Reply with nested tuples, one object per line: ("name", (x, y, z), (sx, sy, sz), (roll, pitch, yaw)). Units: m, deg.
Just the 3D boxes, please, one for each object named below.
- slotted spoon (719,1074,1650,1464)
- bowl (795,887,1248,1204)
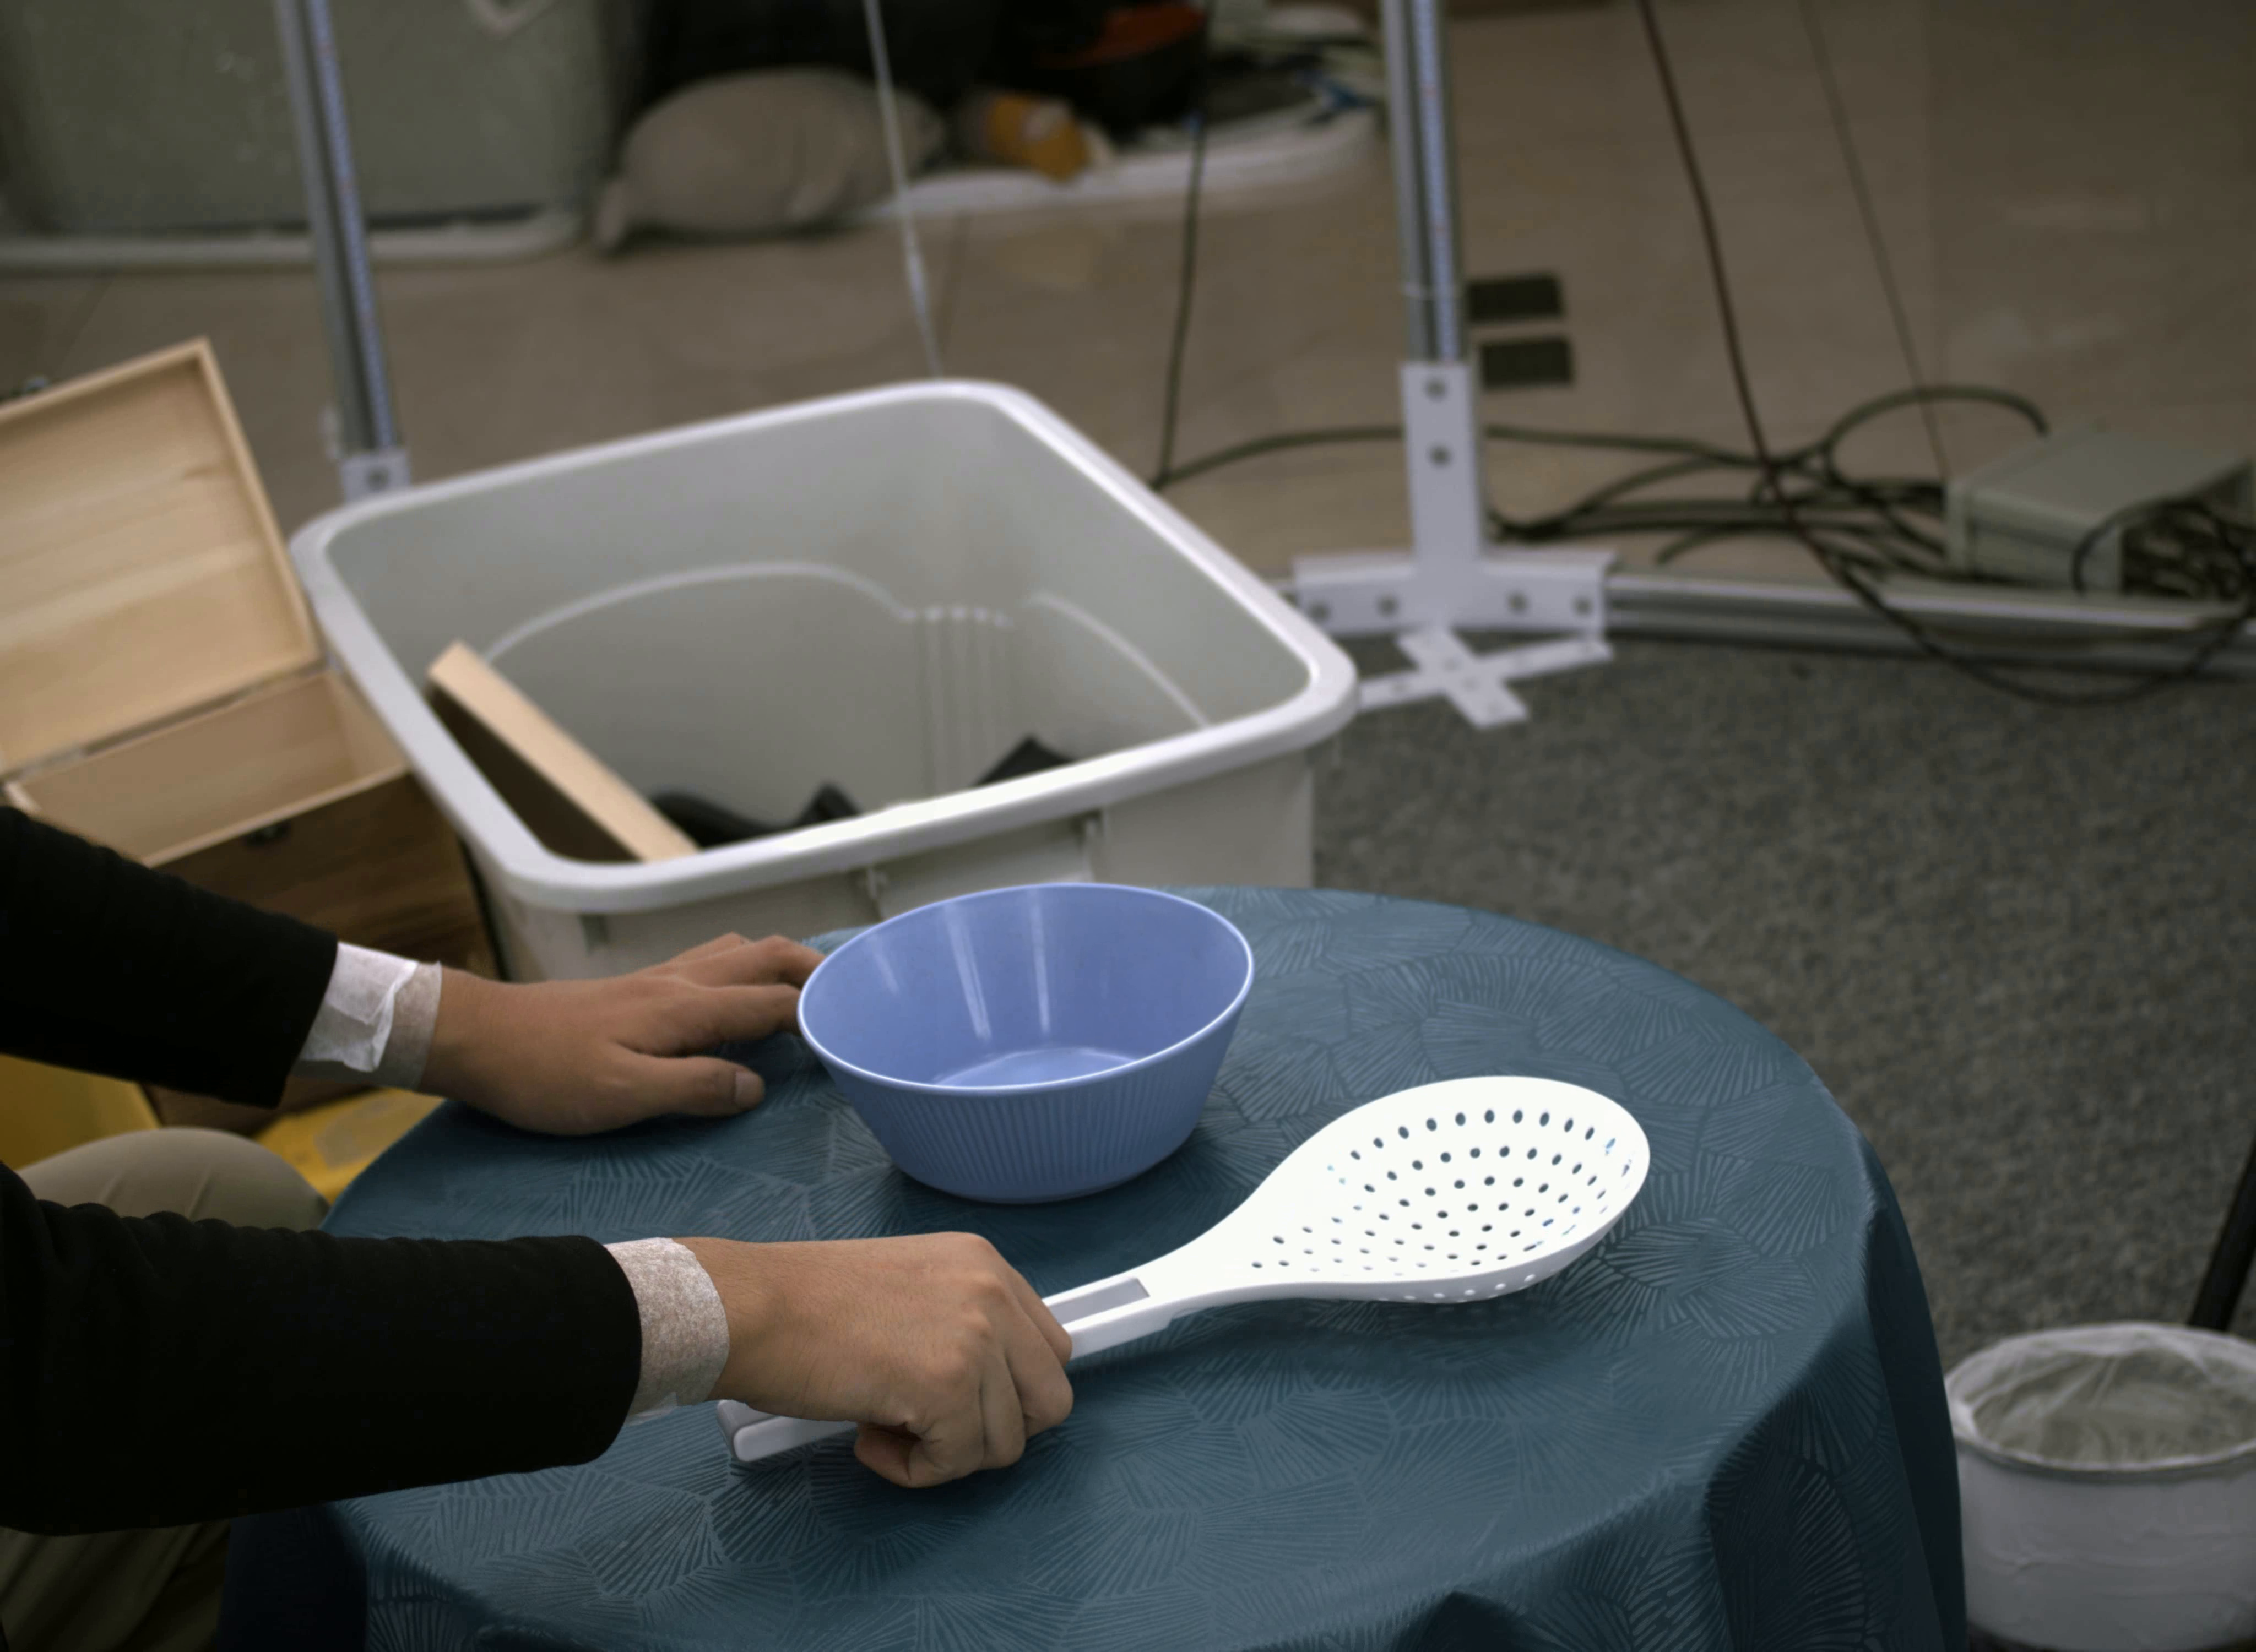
("slotted spoon", (0.022, 0.164, 2.029), (0.348, 0.046, 0.134), (-13, 28, -15))
("bowl", (-0.037, 0.090, 2.179), (0.176, 0.071, 0.173), (-6, 25, 3))
